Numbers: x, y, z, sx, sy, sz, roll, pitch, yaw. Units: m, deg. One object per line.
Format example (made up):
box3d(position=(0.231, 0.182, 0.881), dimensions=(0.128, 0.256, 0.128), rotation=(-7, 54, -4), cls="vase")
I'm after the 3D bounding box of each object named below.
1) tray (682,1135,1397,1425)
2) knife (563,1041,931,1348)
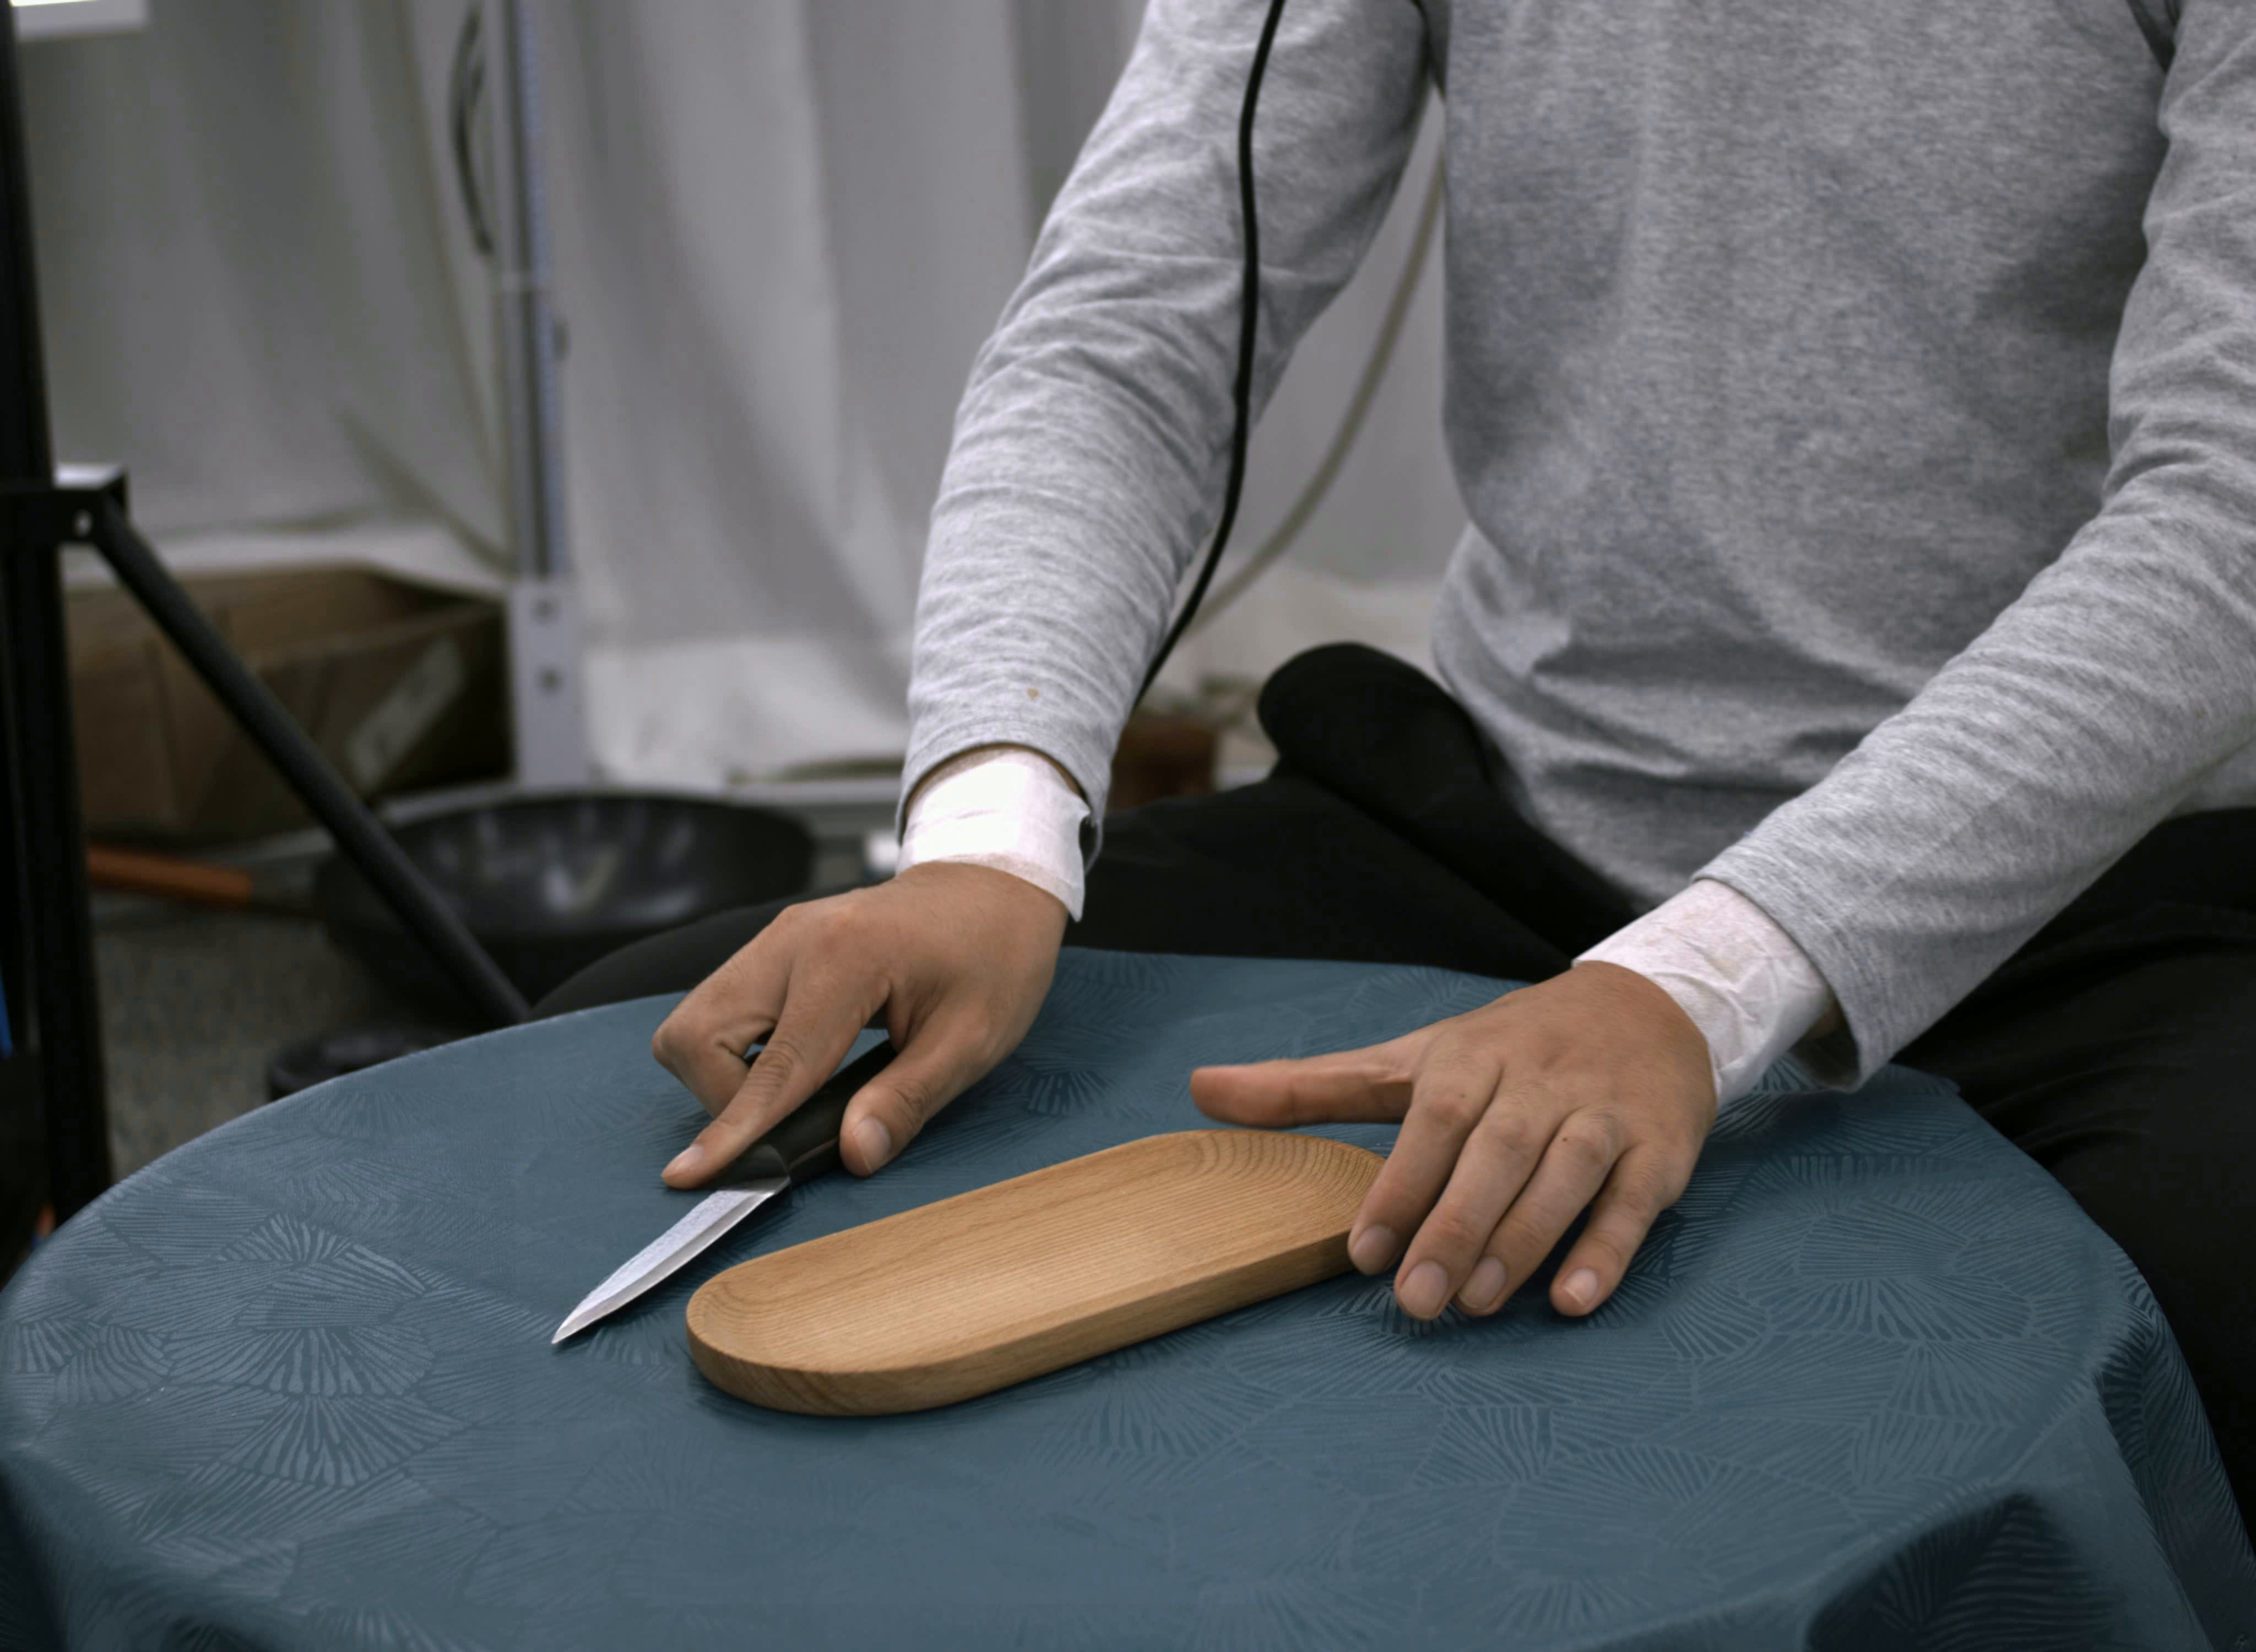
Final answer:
box3d(position=(-0.021, 0.125, 1.477), dimensions=(0.226, 0.020, 0.104), rotation=(-17, 20, -38), cls="tray")
box3d(position=(-0.113, 0.108, 1.559), dimensions=(0.025, 0.016, 0.235), rotation=(-3, 16, 23), cls="knife")
